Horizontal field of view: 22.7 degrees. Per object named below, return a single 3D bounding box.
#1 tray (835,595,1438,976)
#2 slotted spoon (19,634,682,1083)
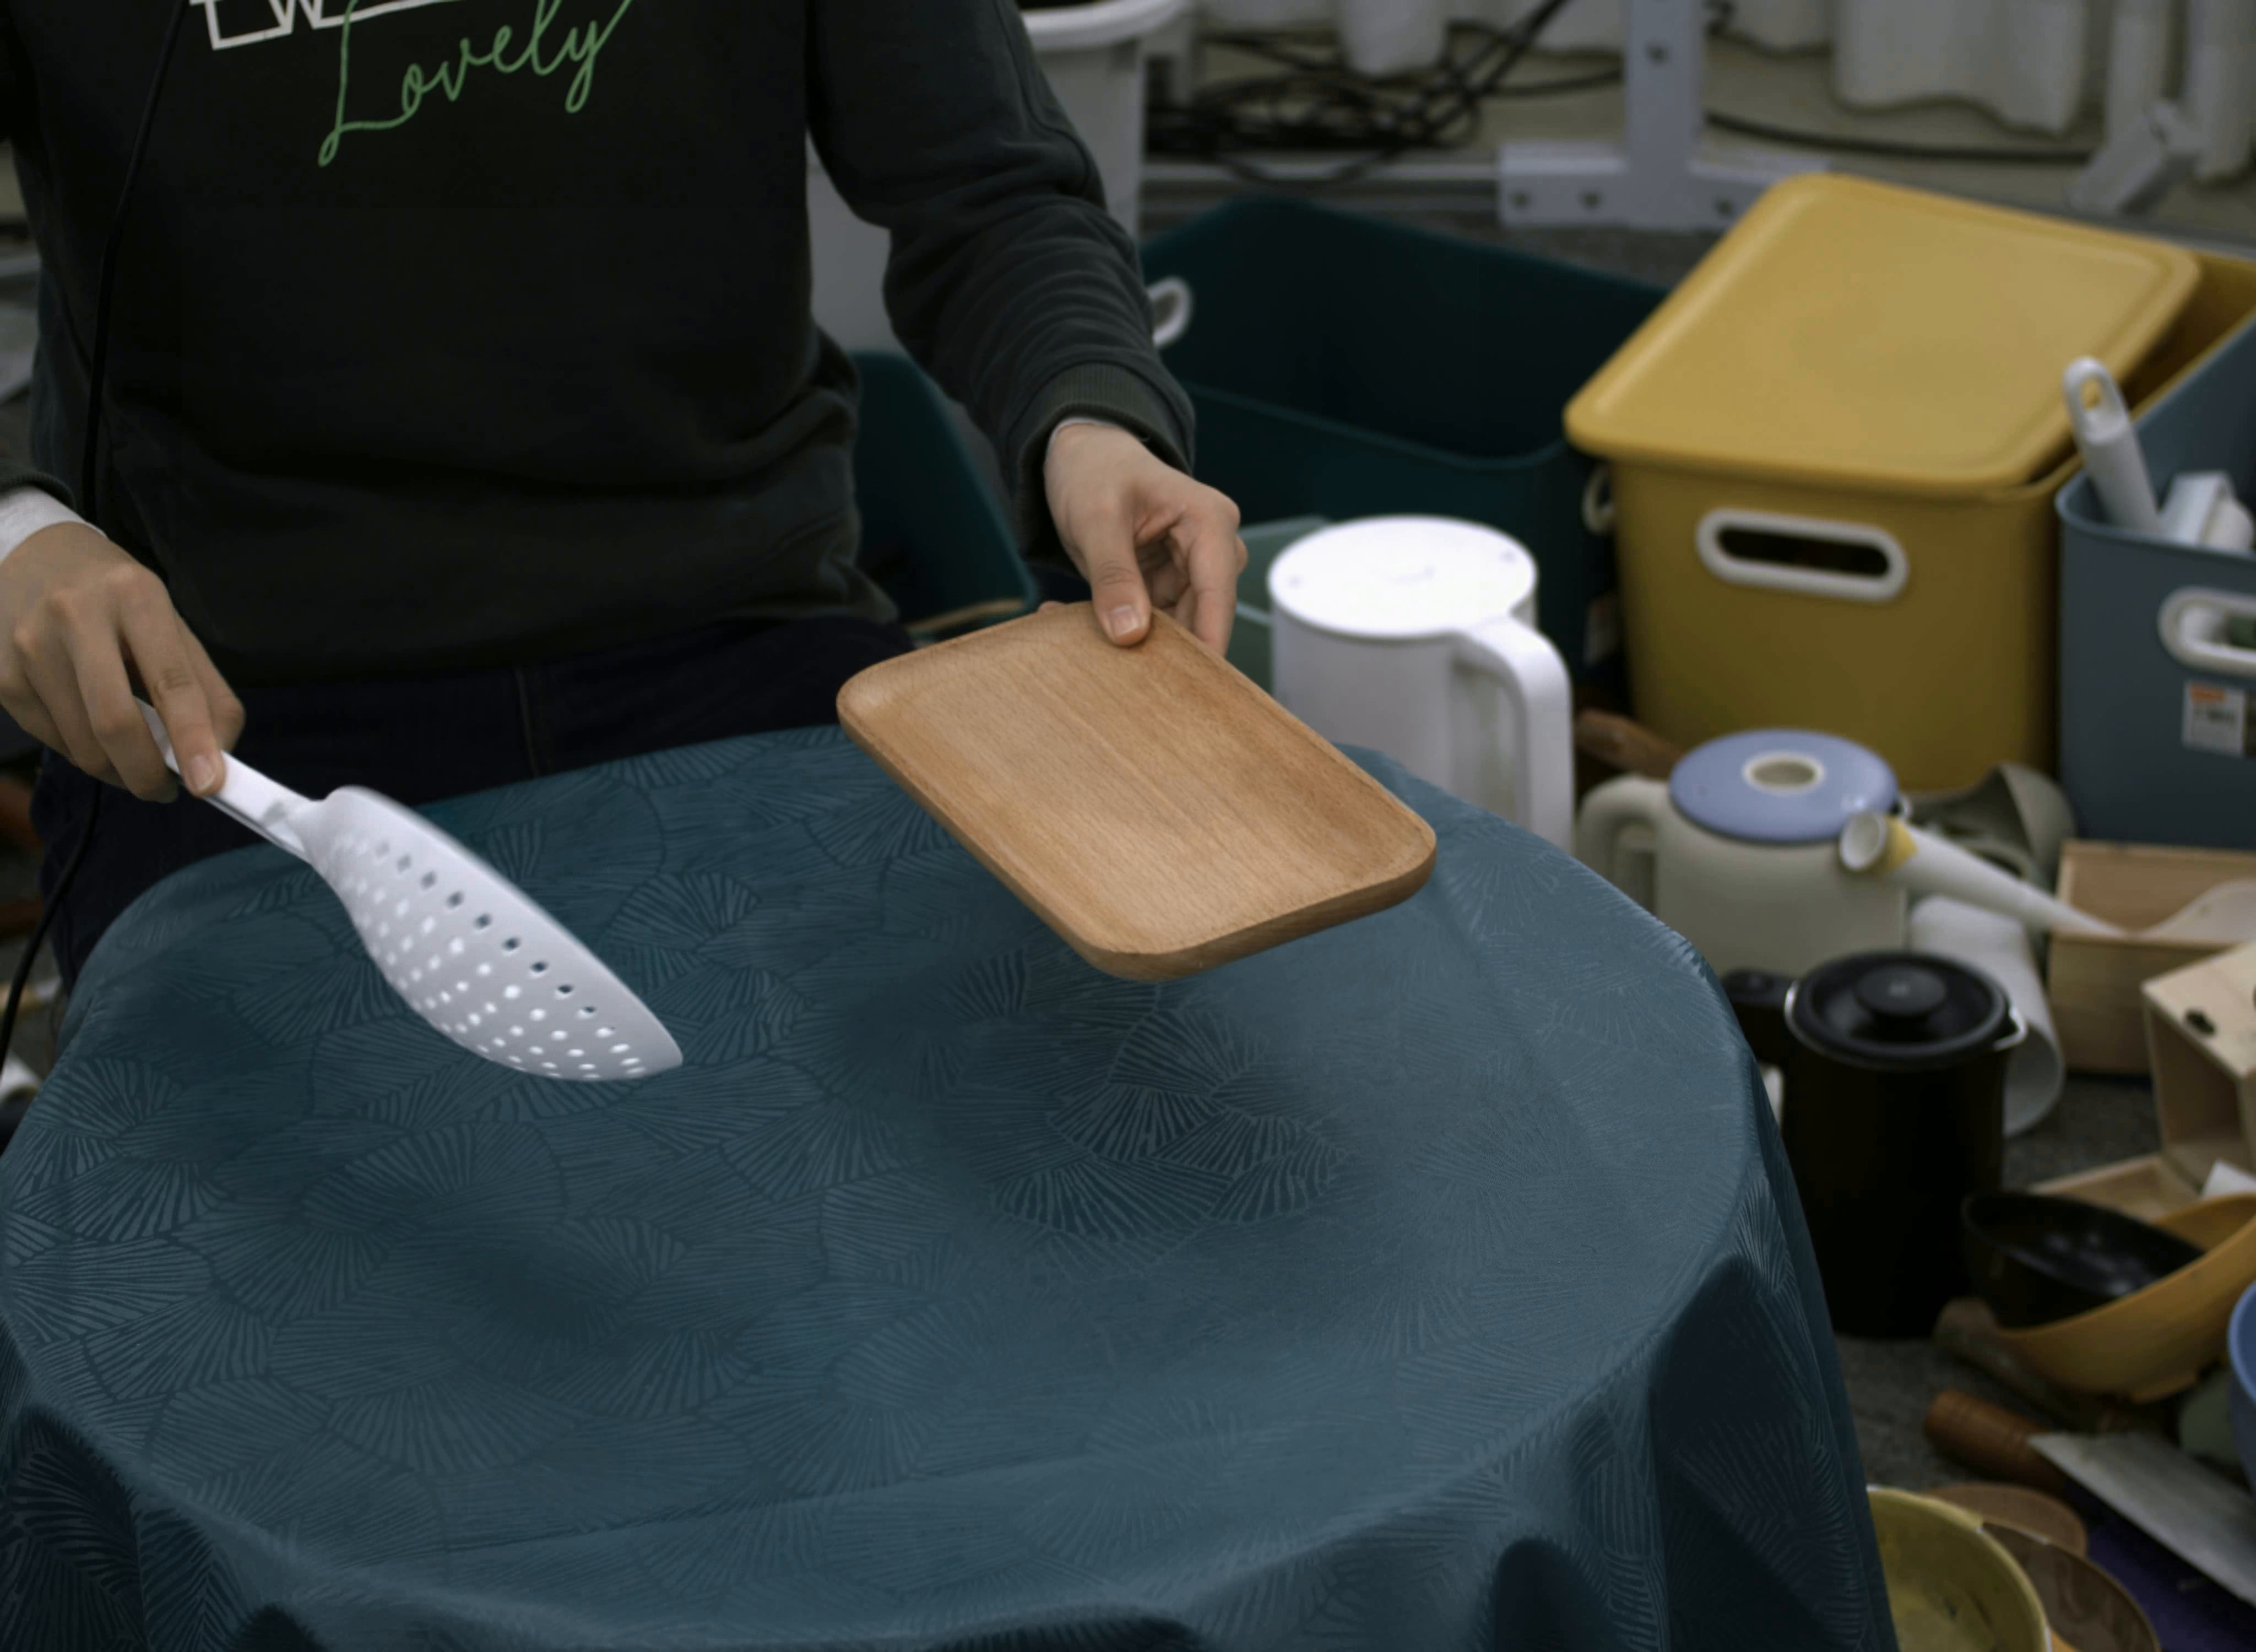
[{"bbox_3d":[-0.001,-0.016,1.892,0.131,0.022,0.252,-16,27,-20],"label":"tray"},{"bbox_3d":[-0.265,0.000,1.837,0.046,0.134,0.350,-43,42,-14],"label":"slotted spoon"}]
